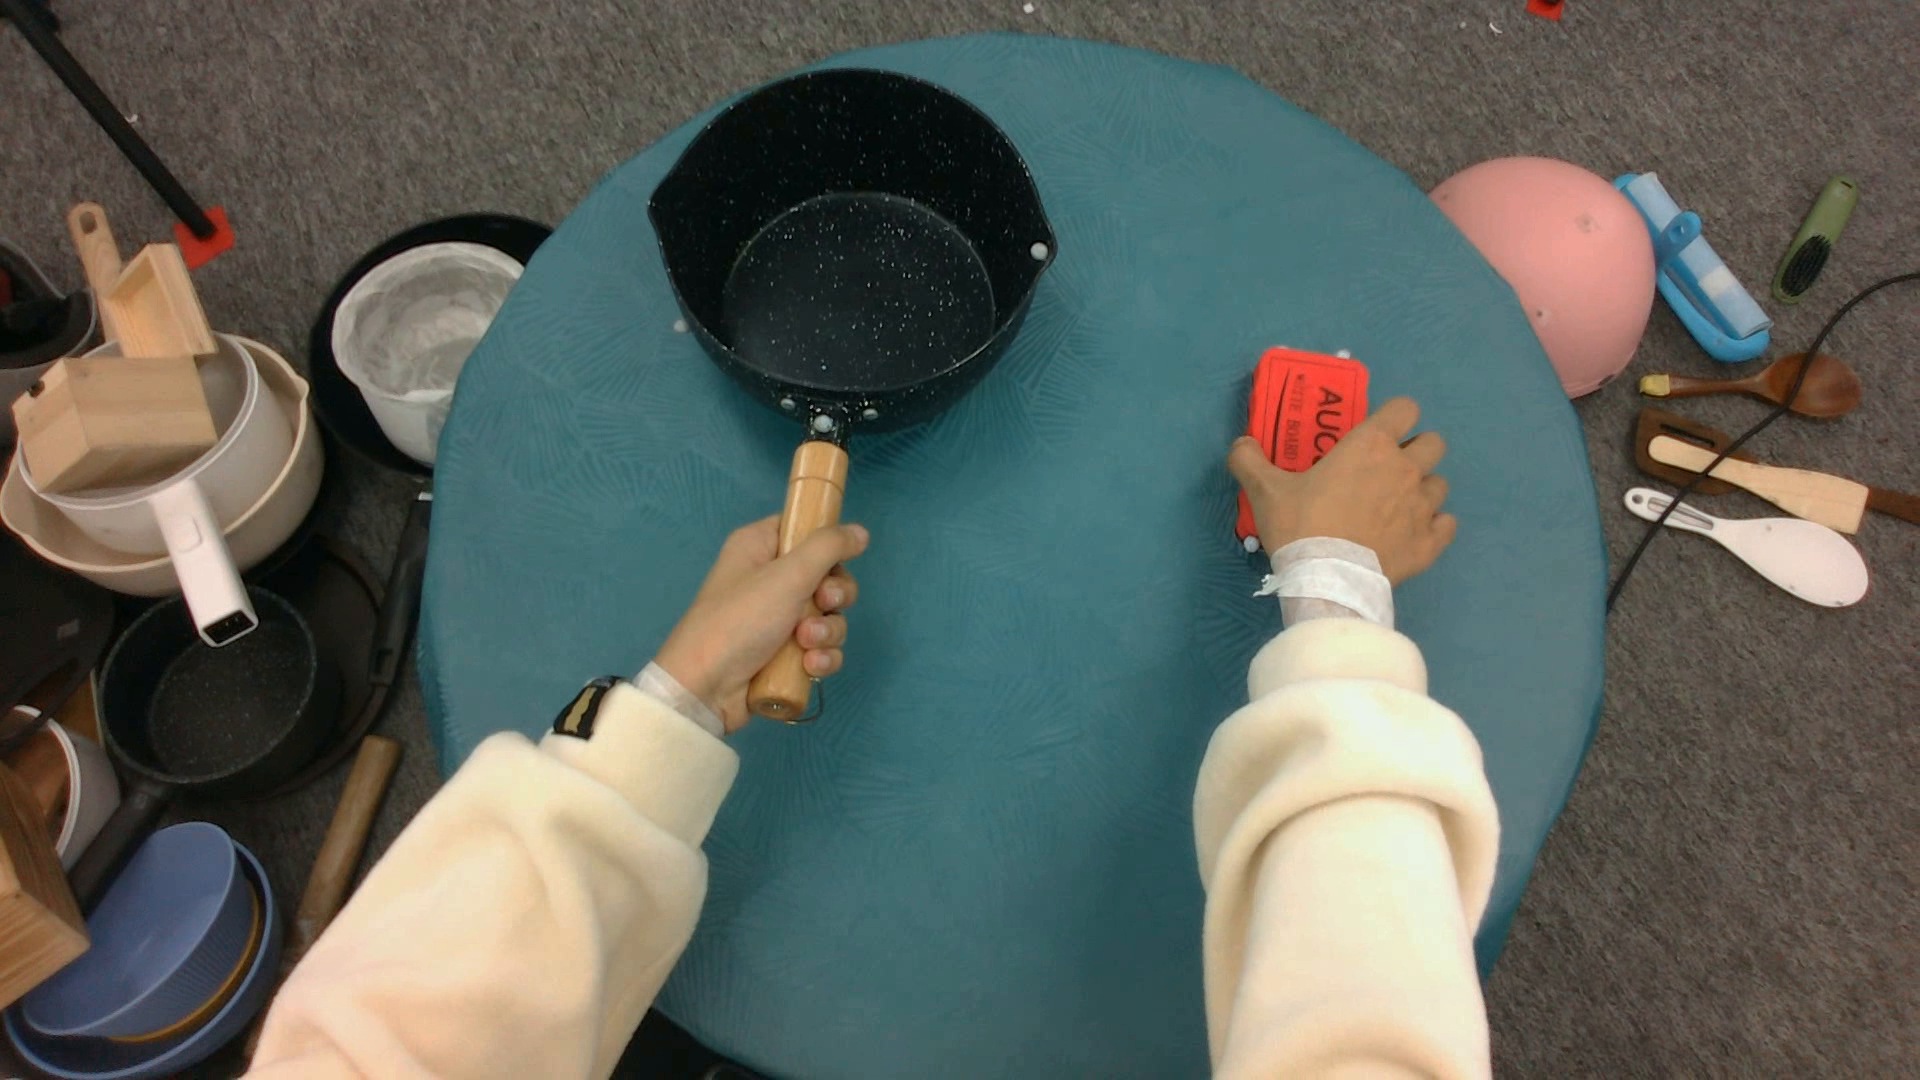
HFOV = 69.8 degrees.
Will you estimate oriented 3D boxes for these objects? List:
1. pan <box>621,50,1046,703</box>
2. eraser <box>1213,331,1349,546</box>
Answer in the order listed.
[{"bbox_3d":[-0.067,-0.077,0.663,0.207,0.108,0.344,5,67,-2],"label":"pan"},{"bbox_3d":[0.166,-0.053,0.712,0.059,0.023,0.108,11,69,0],"label":"eraser"}]
